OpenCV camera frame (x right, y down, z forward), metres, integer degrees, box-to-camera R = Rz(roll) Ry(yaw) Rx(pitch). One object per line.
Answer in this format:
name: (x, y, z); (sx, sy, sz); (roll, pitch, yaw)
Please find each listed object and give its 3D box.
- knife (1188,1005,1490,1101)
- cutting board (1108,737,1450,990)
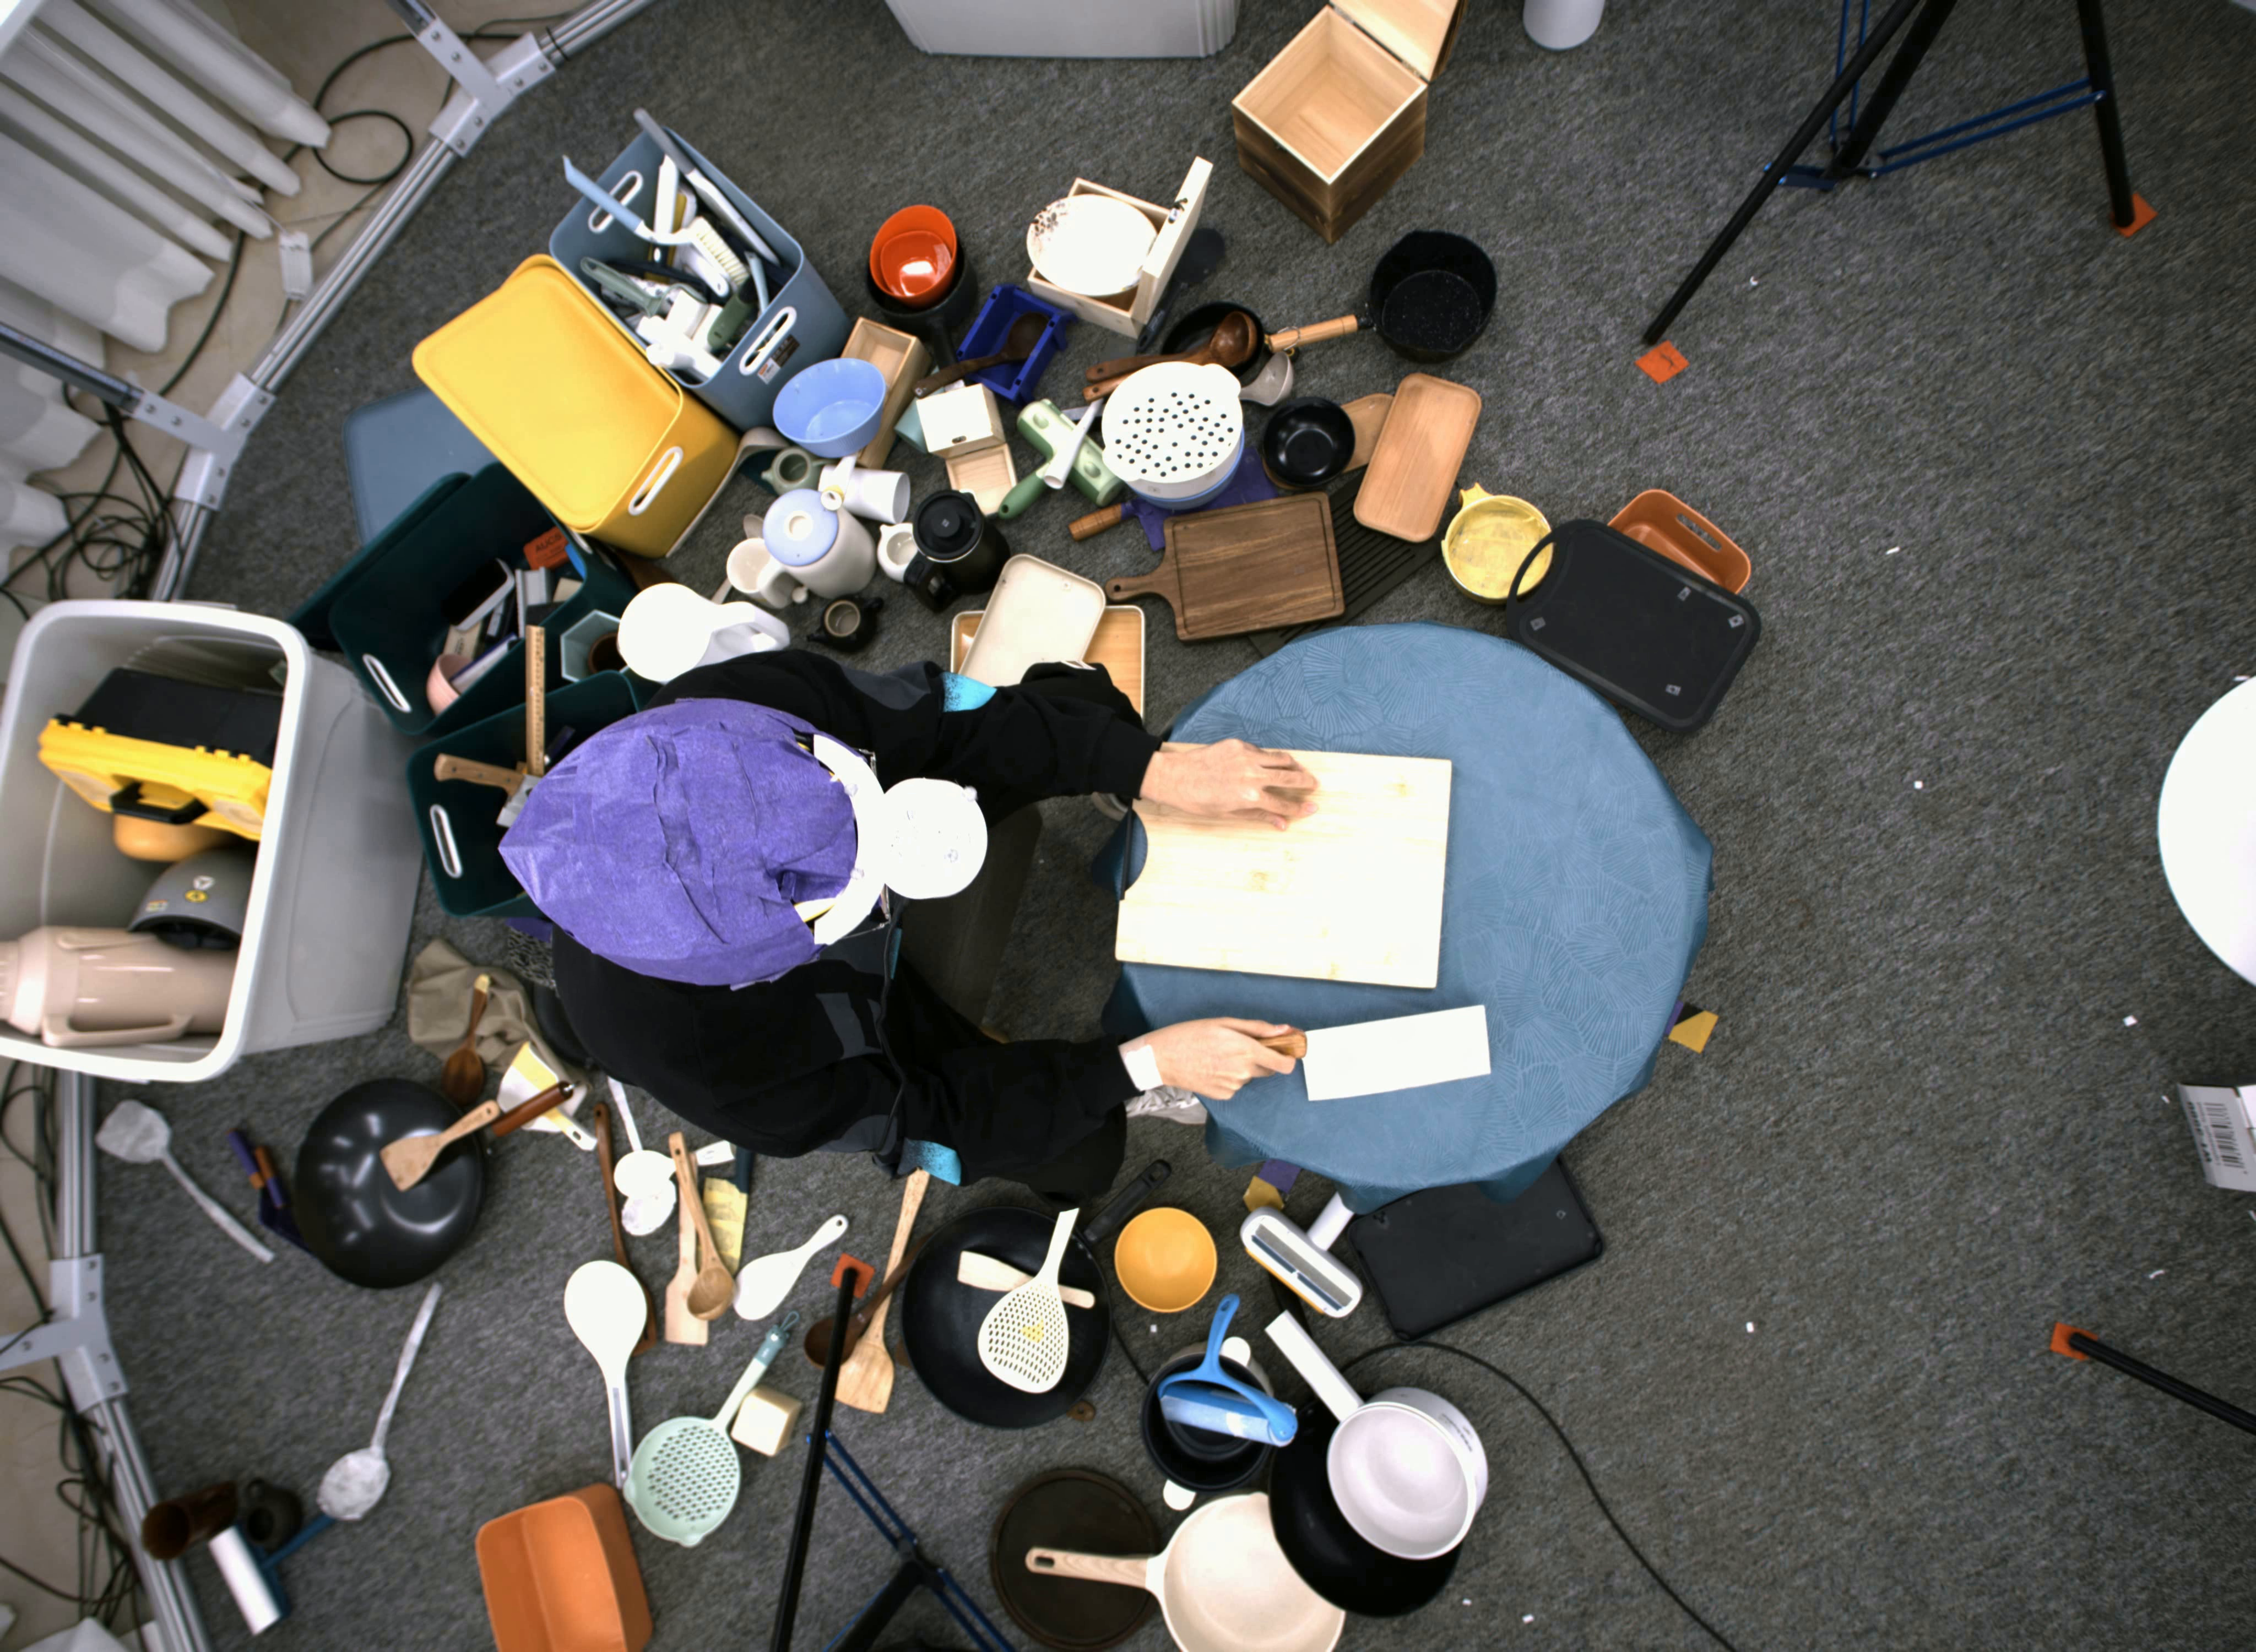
knife: (0.219, 0.241, 1.429); (0.307, 0.020, 0.094); (-9, 118, 8)
cutting board: (0.159, 0.036, 1.475); (0.350, 0.023, 0.249); (3, 86, 11)
